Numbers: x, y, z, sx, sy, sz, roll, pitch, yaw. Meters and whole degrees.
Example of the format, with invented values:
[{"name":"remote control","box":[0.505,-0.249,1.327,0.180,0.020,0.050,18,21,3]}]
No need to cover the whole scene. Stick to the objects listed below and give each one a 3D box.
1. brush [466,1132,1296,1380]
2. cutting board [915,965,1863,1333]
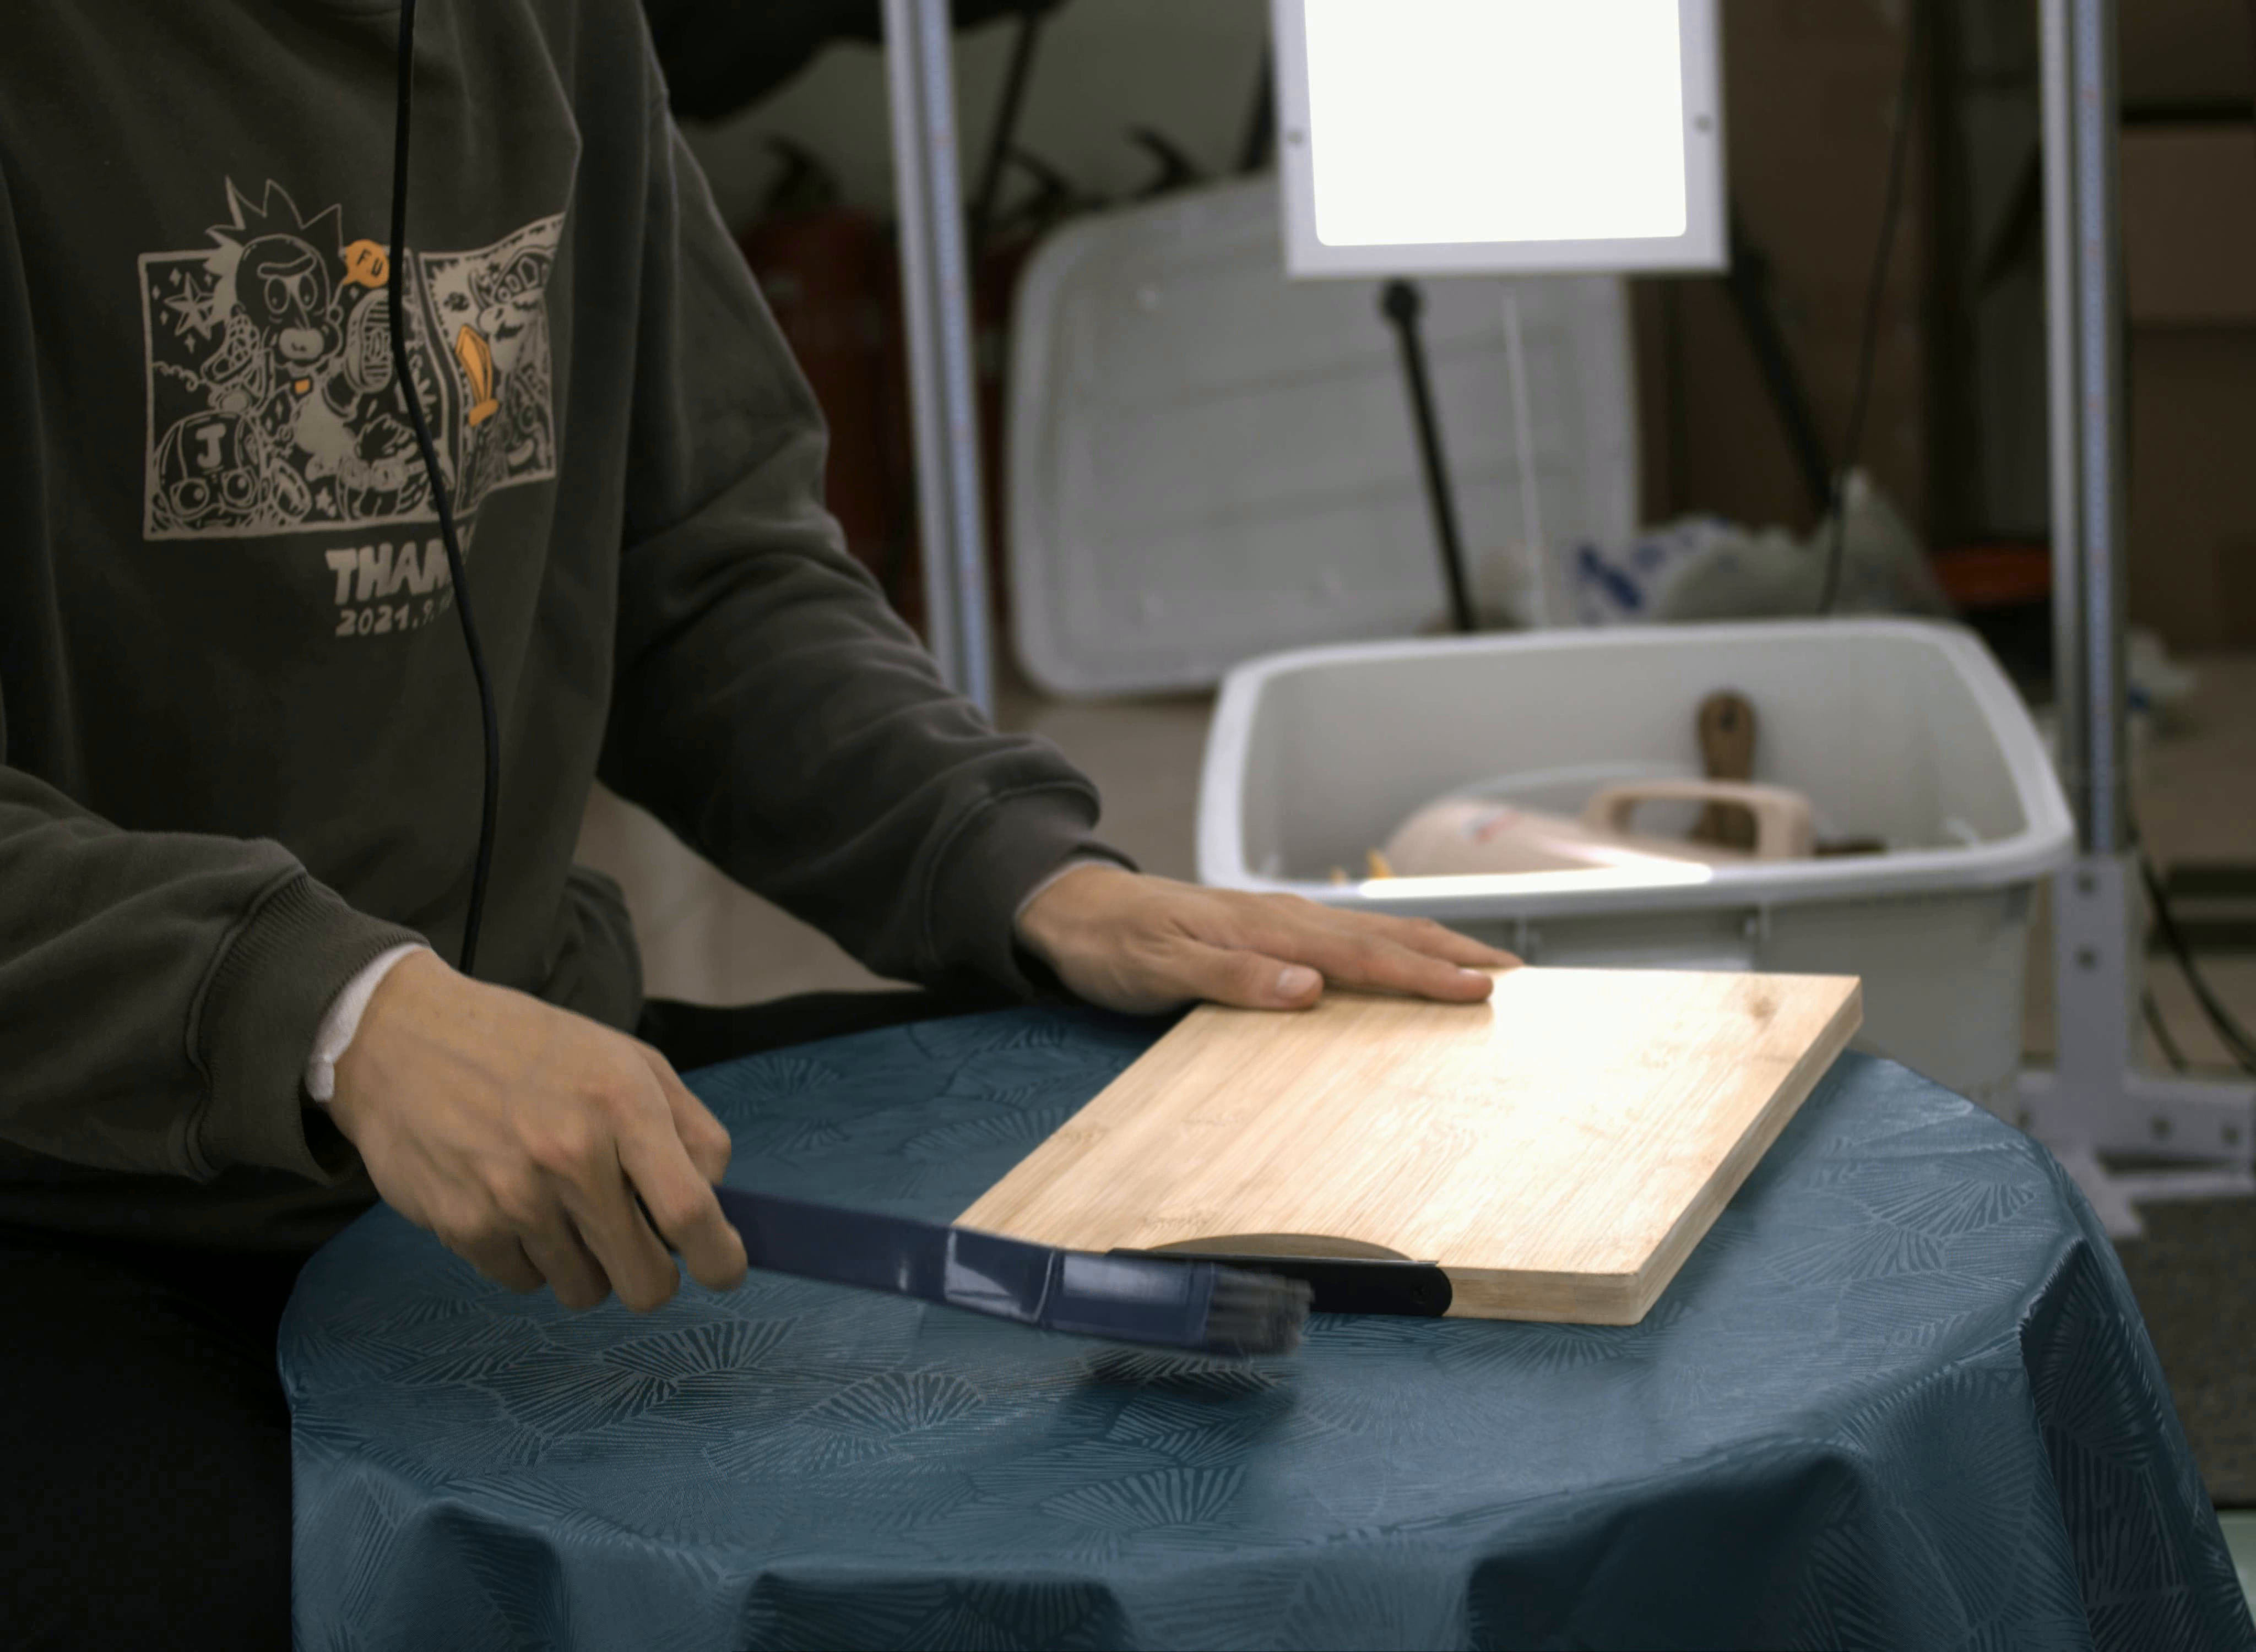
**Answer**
[{"name":"brush","box":[-0.081,0.133,1.706,0.275,0.033,0.095,10,-7,11]},{"name":"cutting board","box":[0.101,0.107,1.907,0.254,0.023,0.342,-1,14,20]}]
